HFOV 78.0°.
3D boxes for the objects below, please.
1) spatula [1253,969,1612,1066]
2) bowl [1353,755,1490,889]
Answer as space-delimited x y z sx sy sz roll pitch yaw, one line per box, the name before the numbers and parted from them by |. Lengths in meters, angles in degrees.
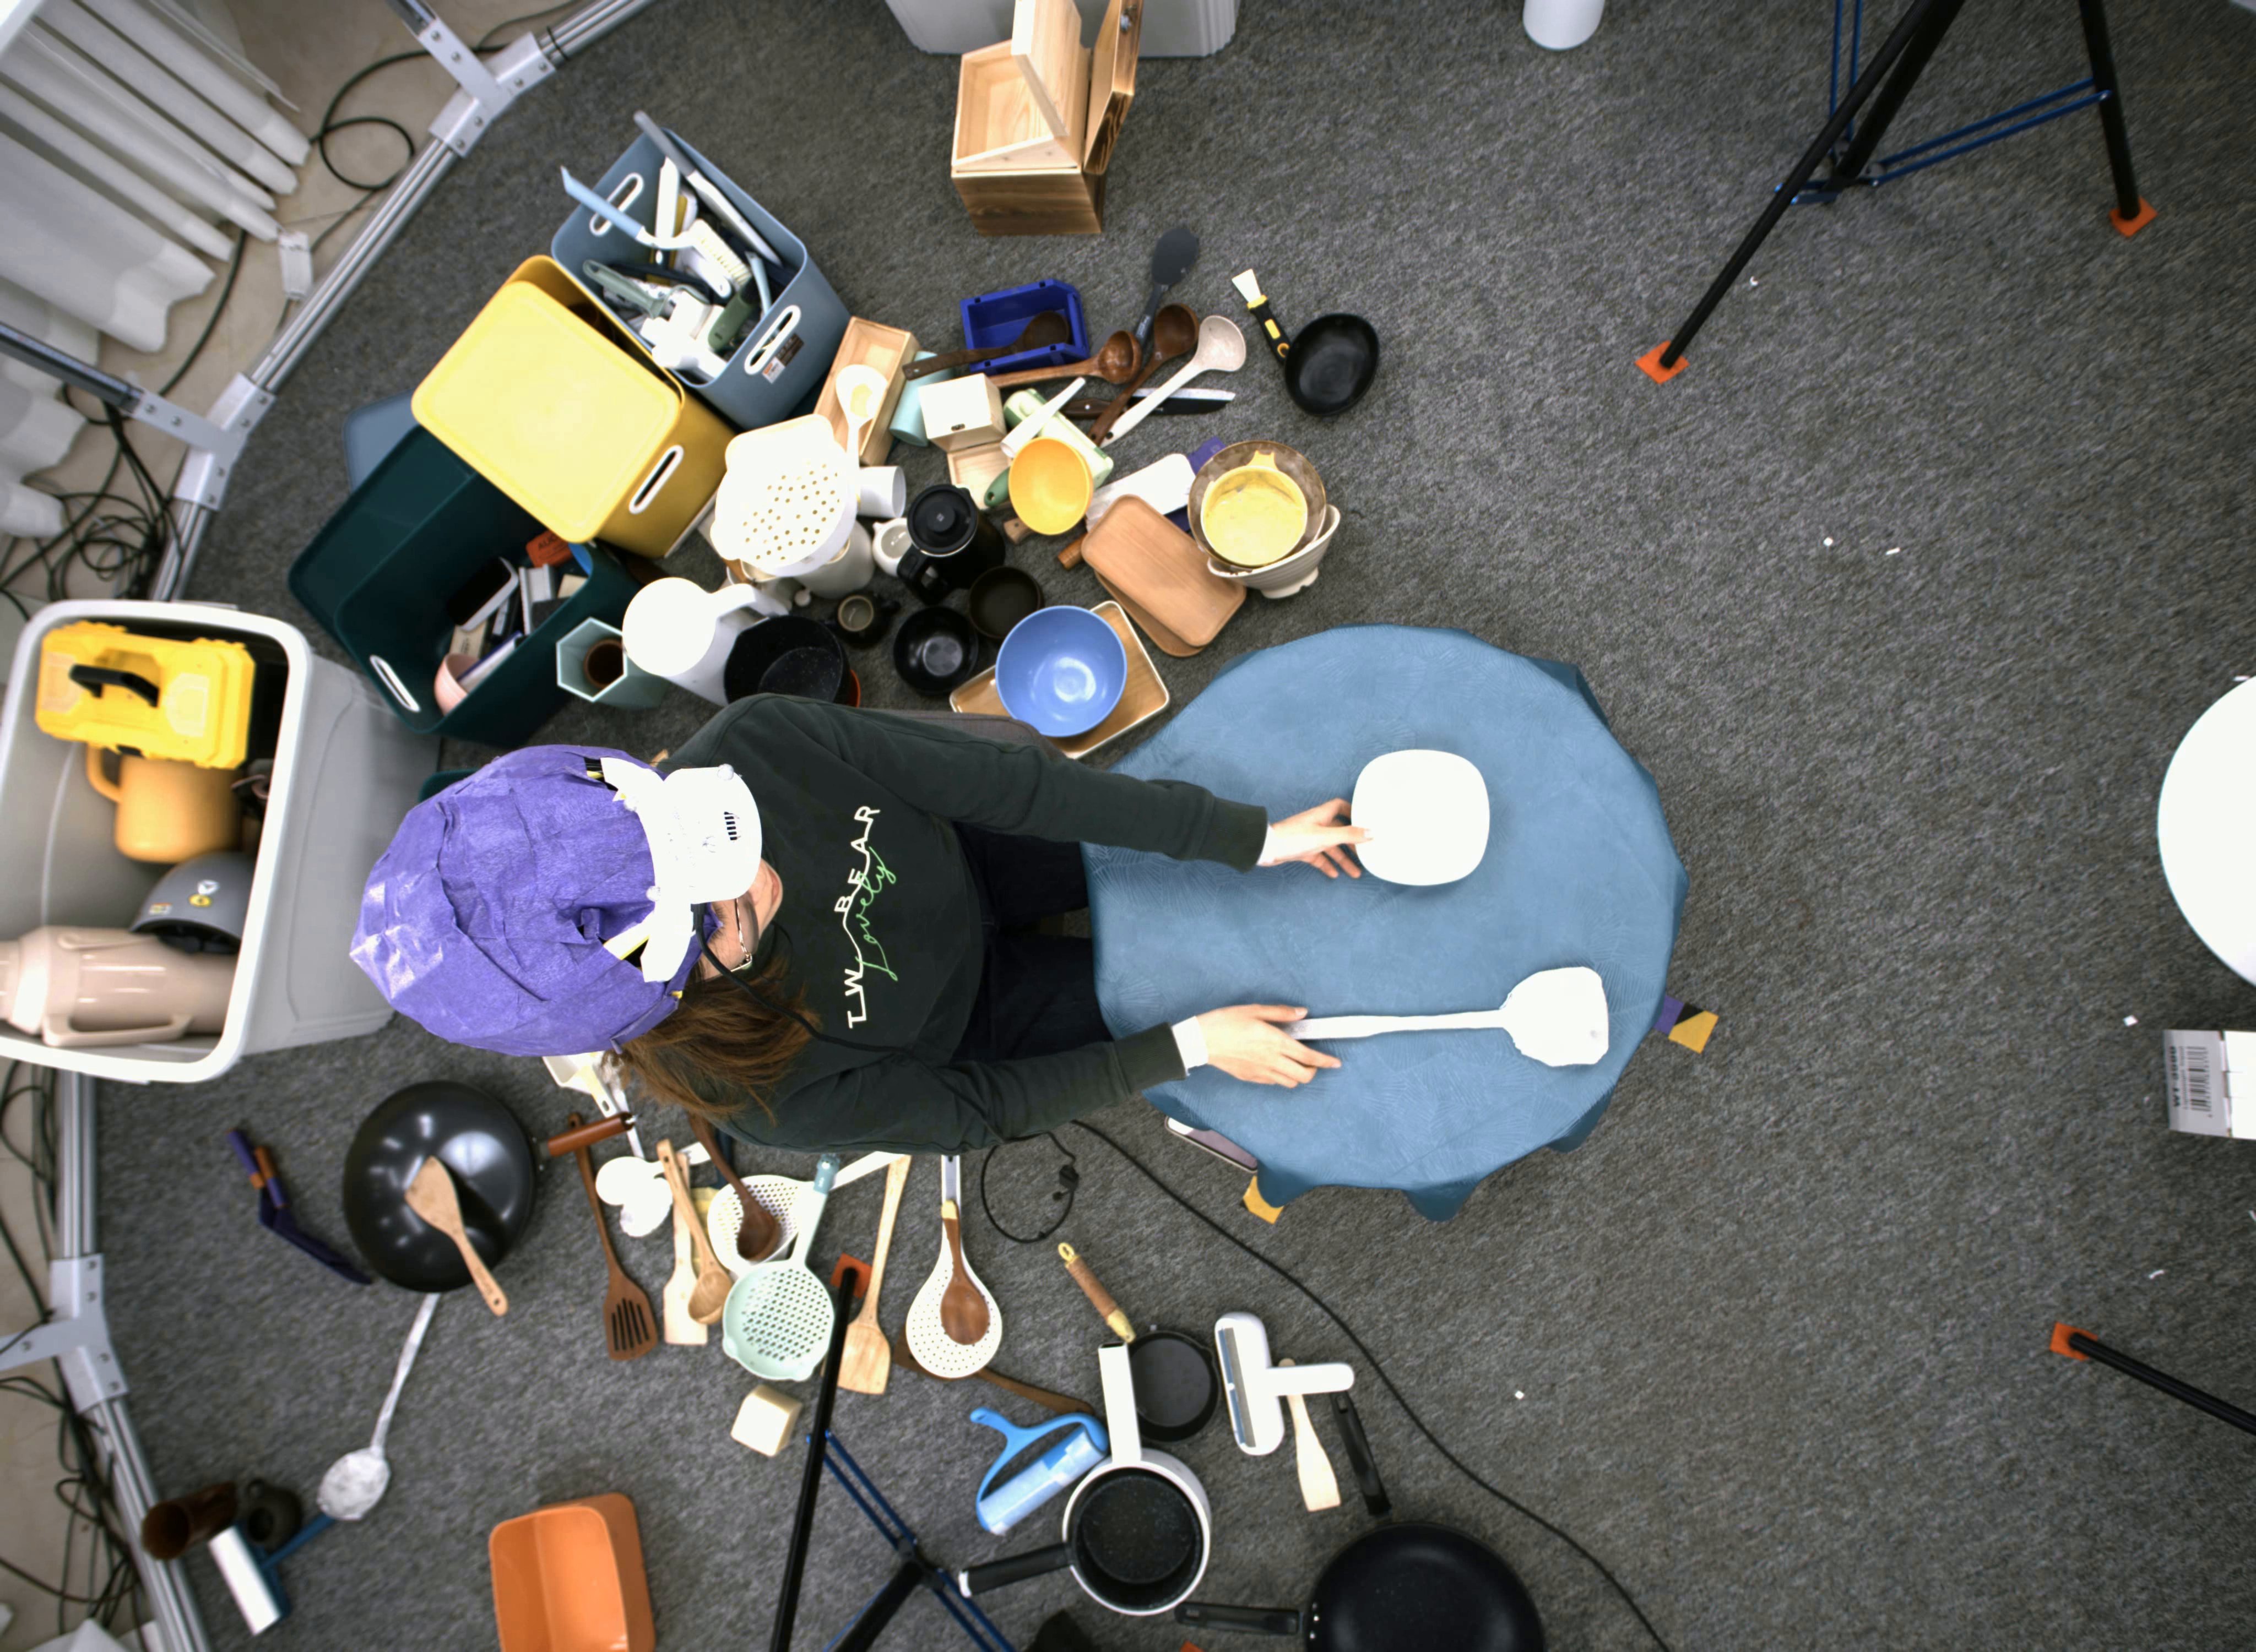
spatula | 0.309 0.200 1.429 0.366 0.045 0.098 -3 87 10
bowl | 0.304 -0.002 1.436 0.152 0.059 0.150 -1 84 9
